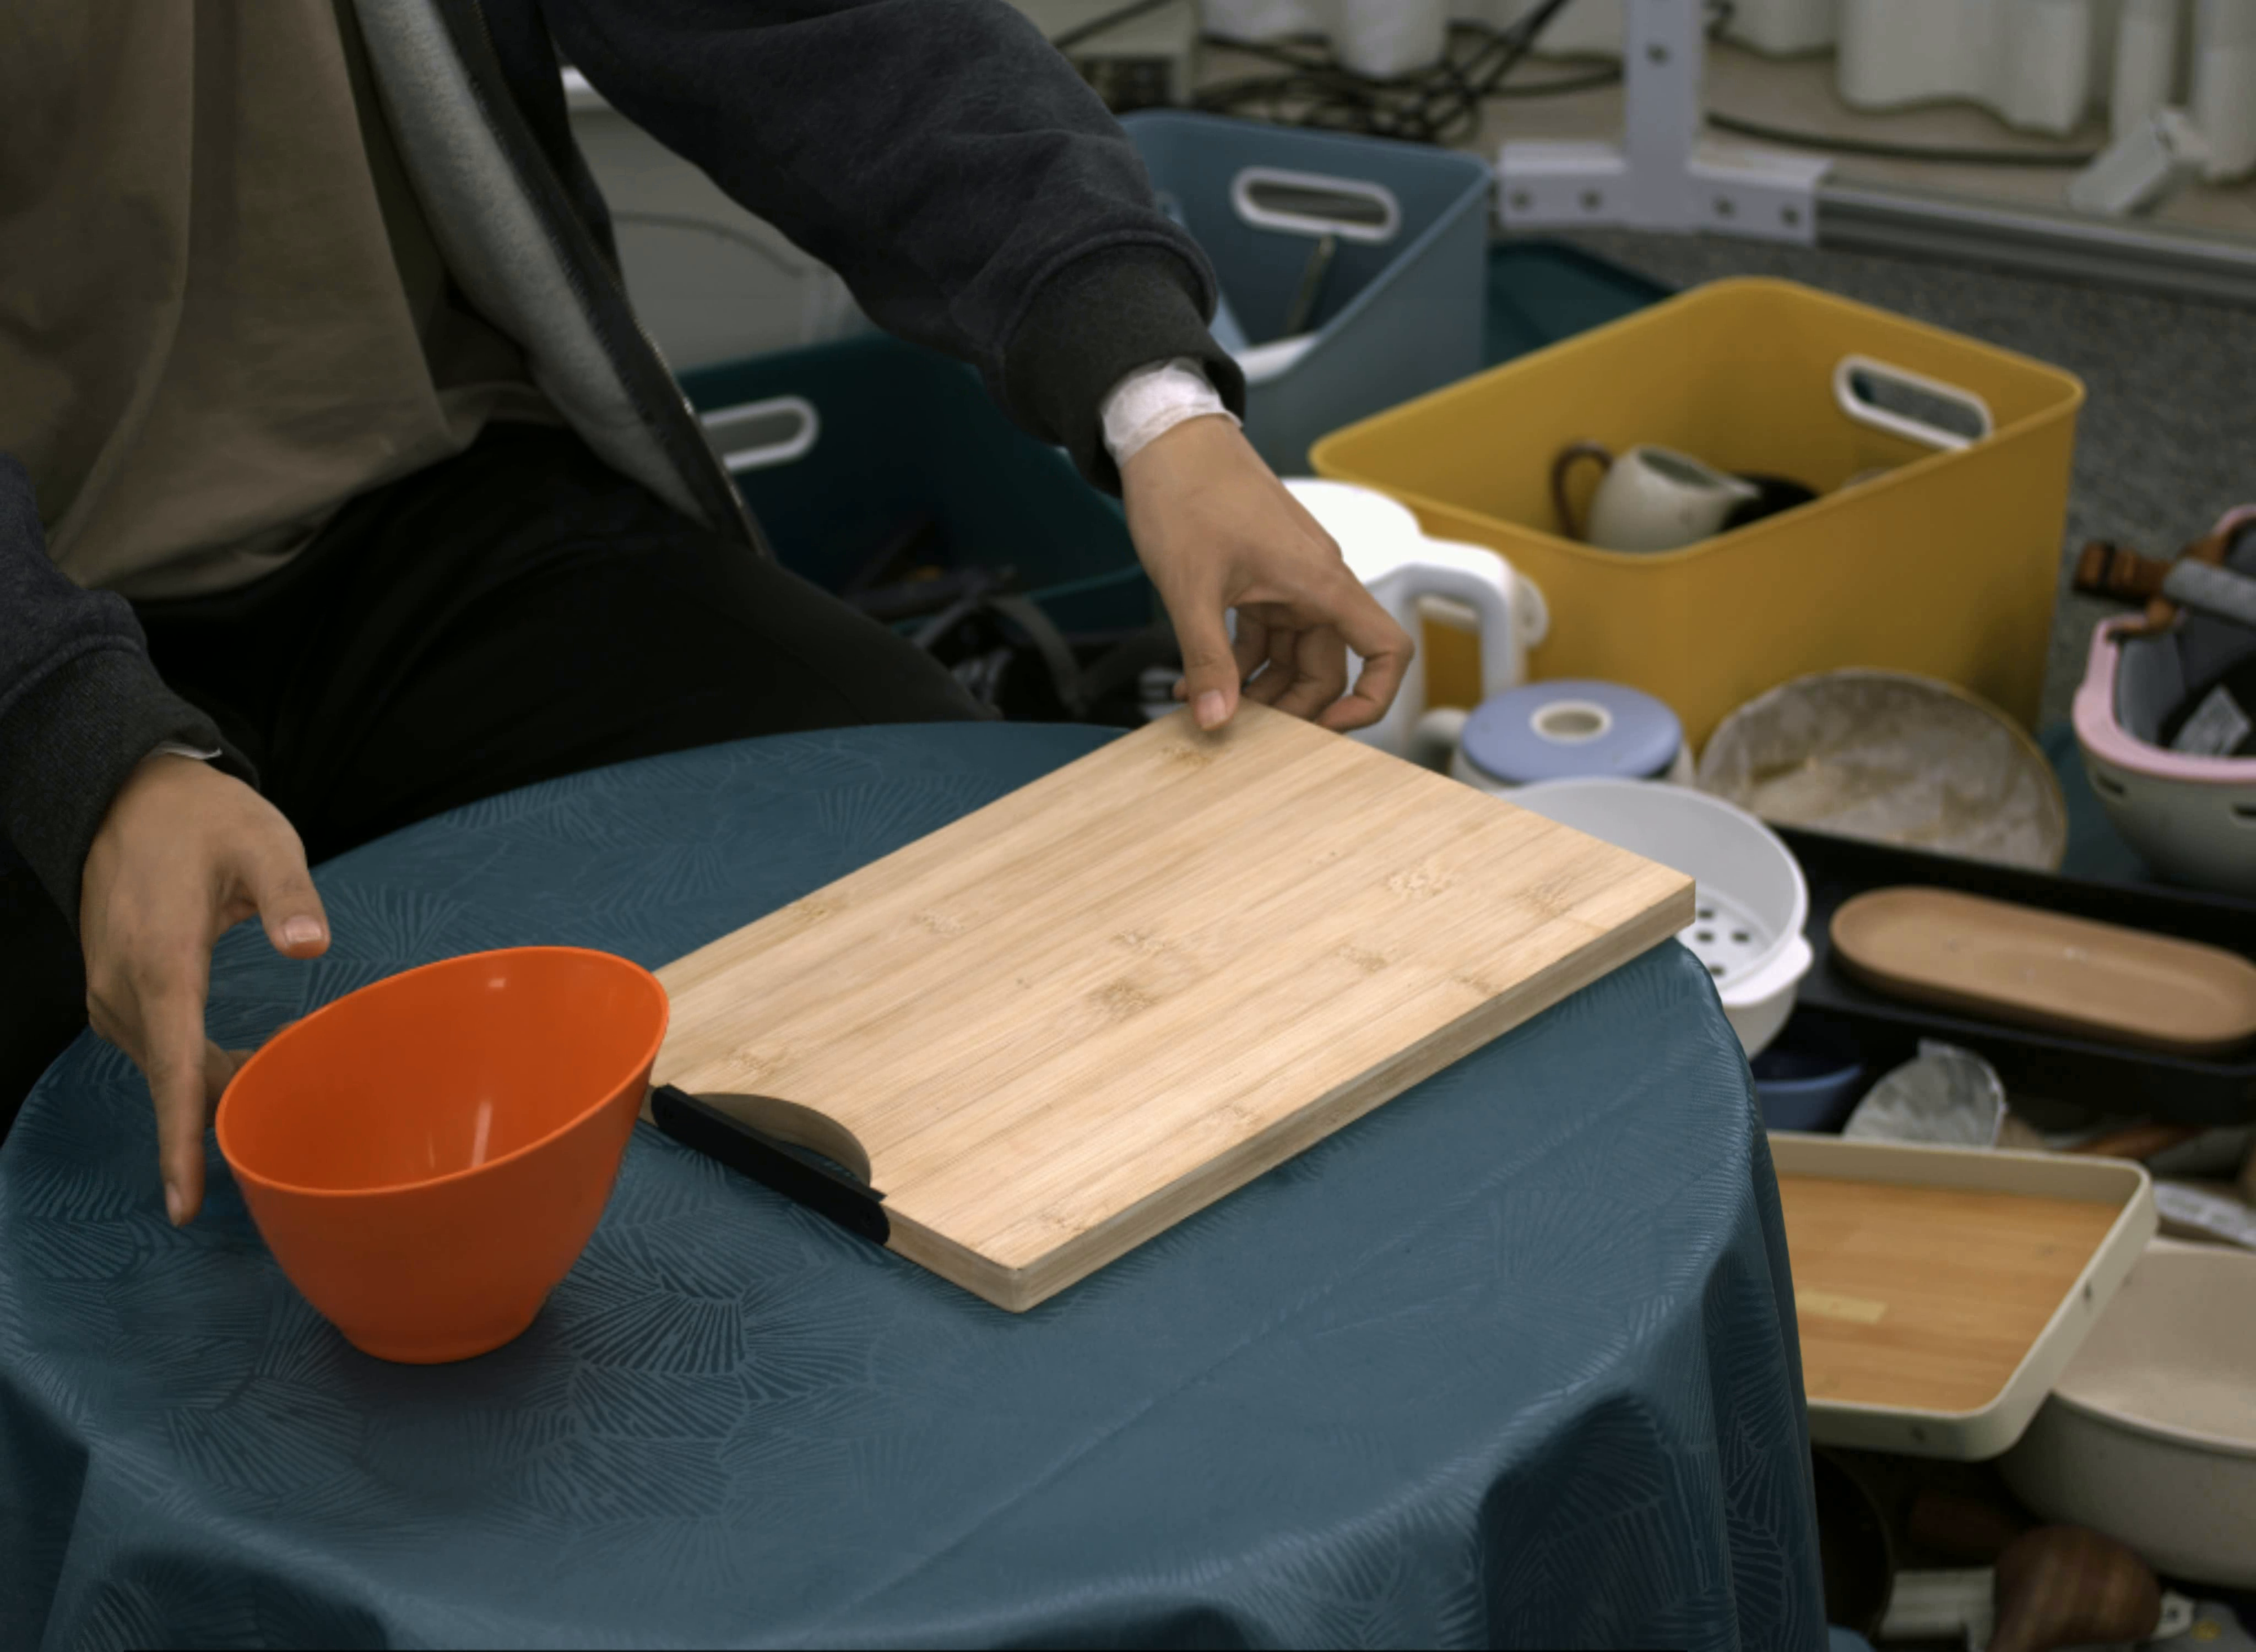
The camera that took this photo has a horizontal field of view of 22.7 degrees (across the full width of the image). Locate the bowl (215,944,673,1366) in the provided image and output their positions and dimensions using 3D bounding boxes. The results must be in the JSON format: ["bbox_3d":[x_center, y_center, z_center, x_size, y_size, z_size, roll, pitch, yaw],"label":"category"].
[{"bbox_3d":[-0.214,0.112,1.792,0.147,0.103,0.150,-2,29,1],"label":"bowl"}]

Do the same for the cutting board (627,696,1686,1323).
[{"bbox_3d":[-0.005,0.056,1.973,0.250,0.023,0.353,21,36,40],"label":"cutting board"}]
